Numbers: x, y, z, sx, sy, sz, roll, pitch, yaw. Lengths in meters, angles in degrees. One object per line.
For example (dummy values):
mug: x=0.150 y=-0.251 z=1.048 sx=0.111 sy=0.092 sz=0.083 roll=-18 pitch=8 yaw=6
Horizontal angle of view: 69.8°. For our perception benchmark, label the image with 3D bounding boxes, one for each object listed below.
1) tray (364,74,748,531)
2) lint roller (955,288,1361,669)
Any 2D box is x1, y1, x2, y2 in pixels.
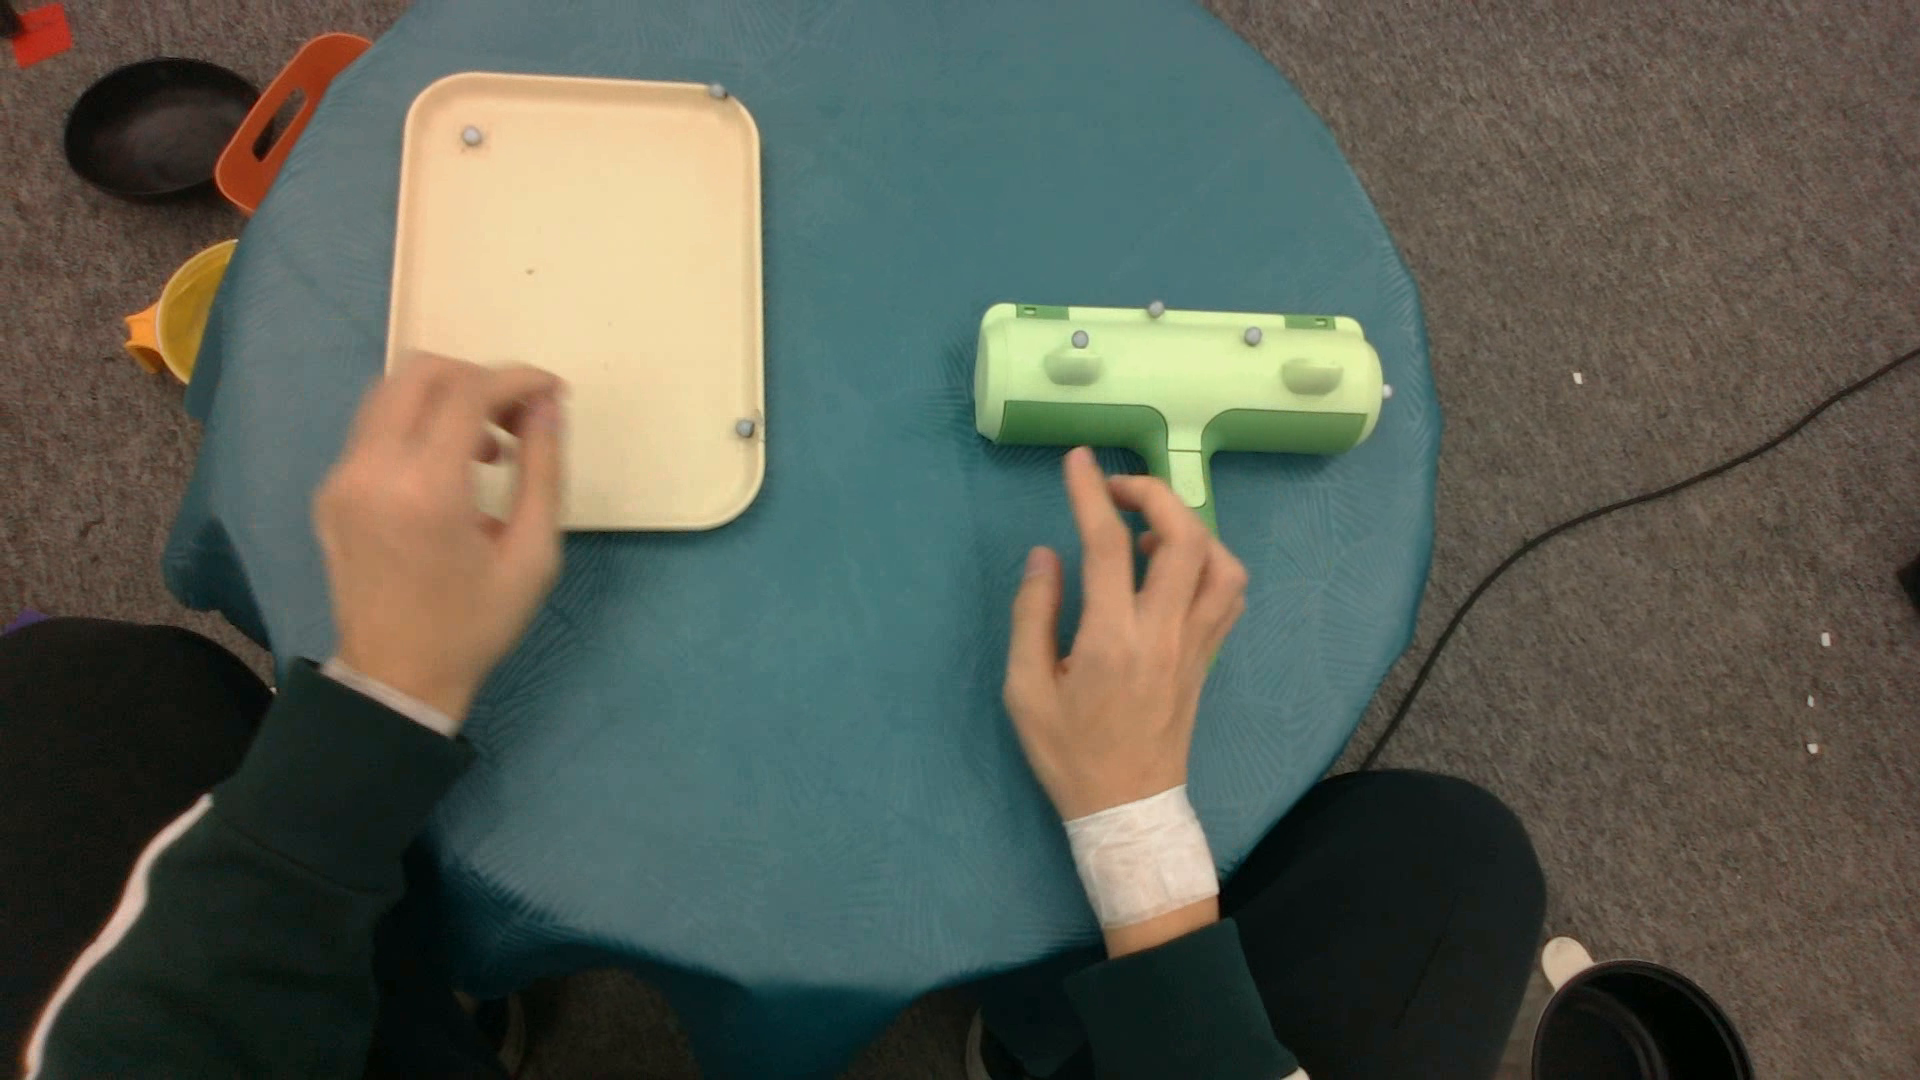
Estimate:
tray: x=-0.192 y=-0.119 z=0.662 sx=0.171 sy=0.017 sz=0.240 roll=-2 pitch=72 yaw=-9
lint roller: x=0.101 y=-0.036 z=0.650 sx=0.199 sy=0.082 sz=0.184 roll=0 pitch=67 yaw=-9
